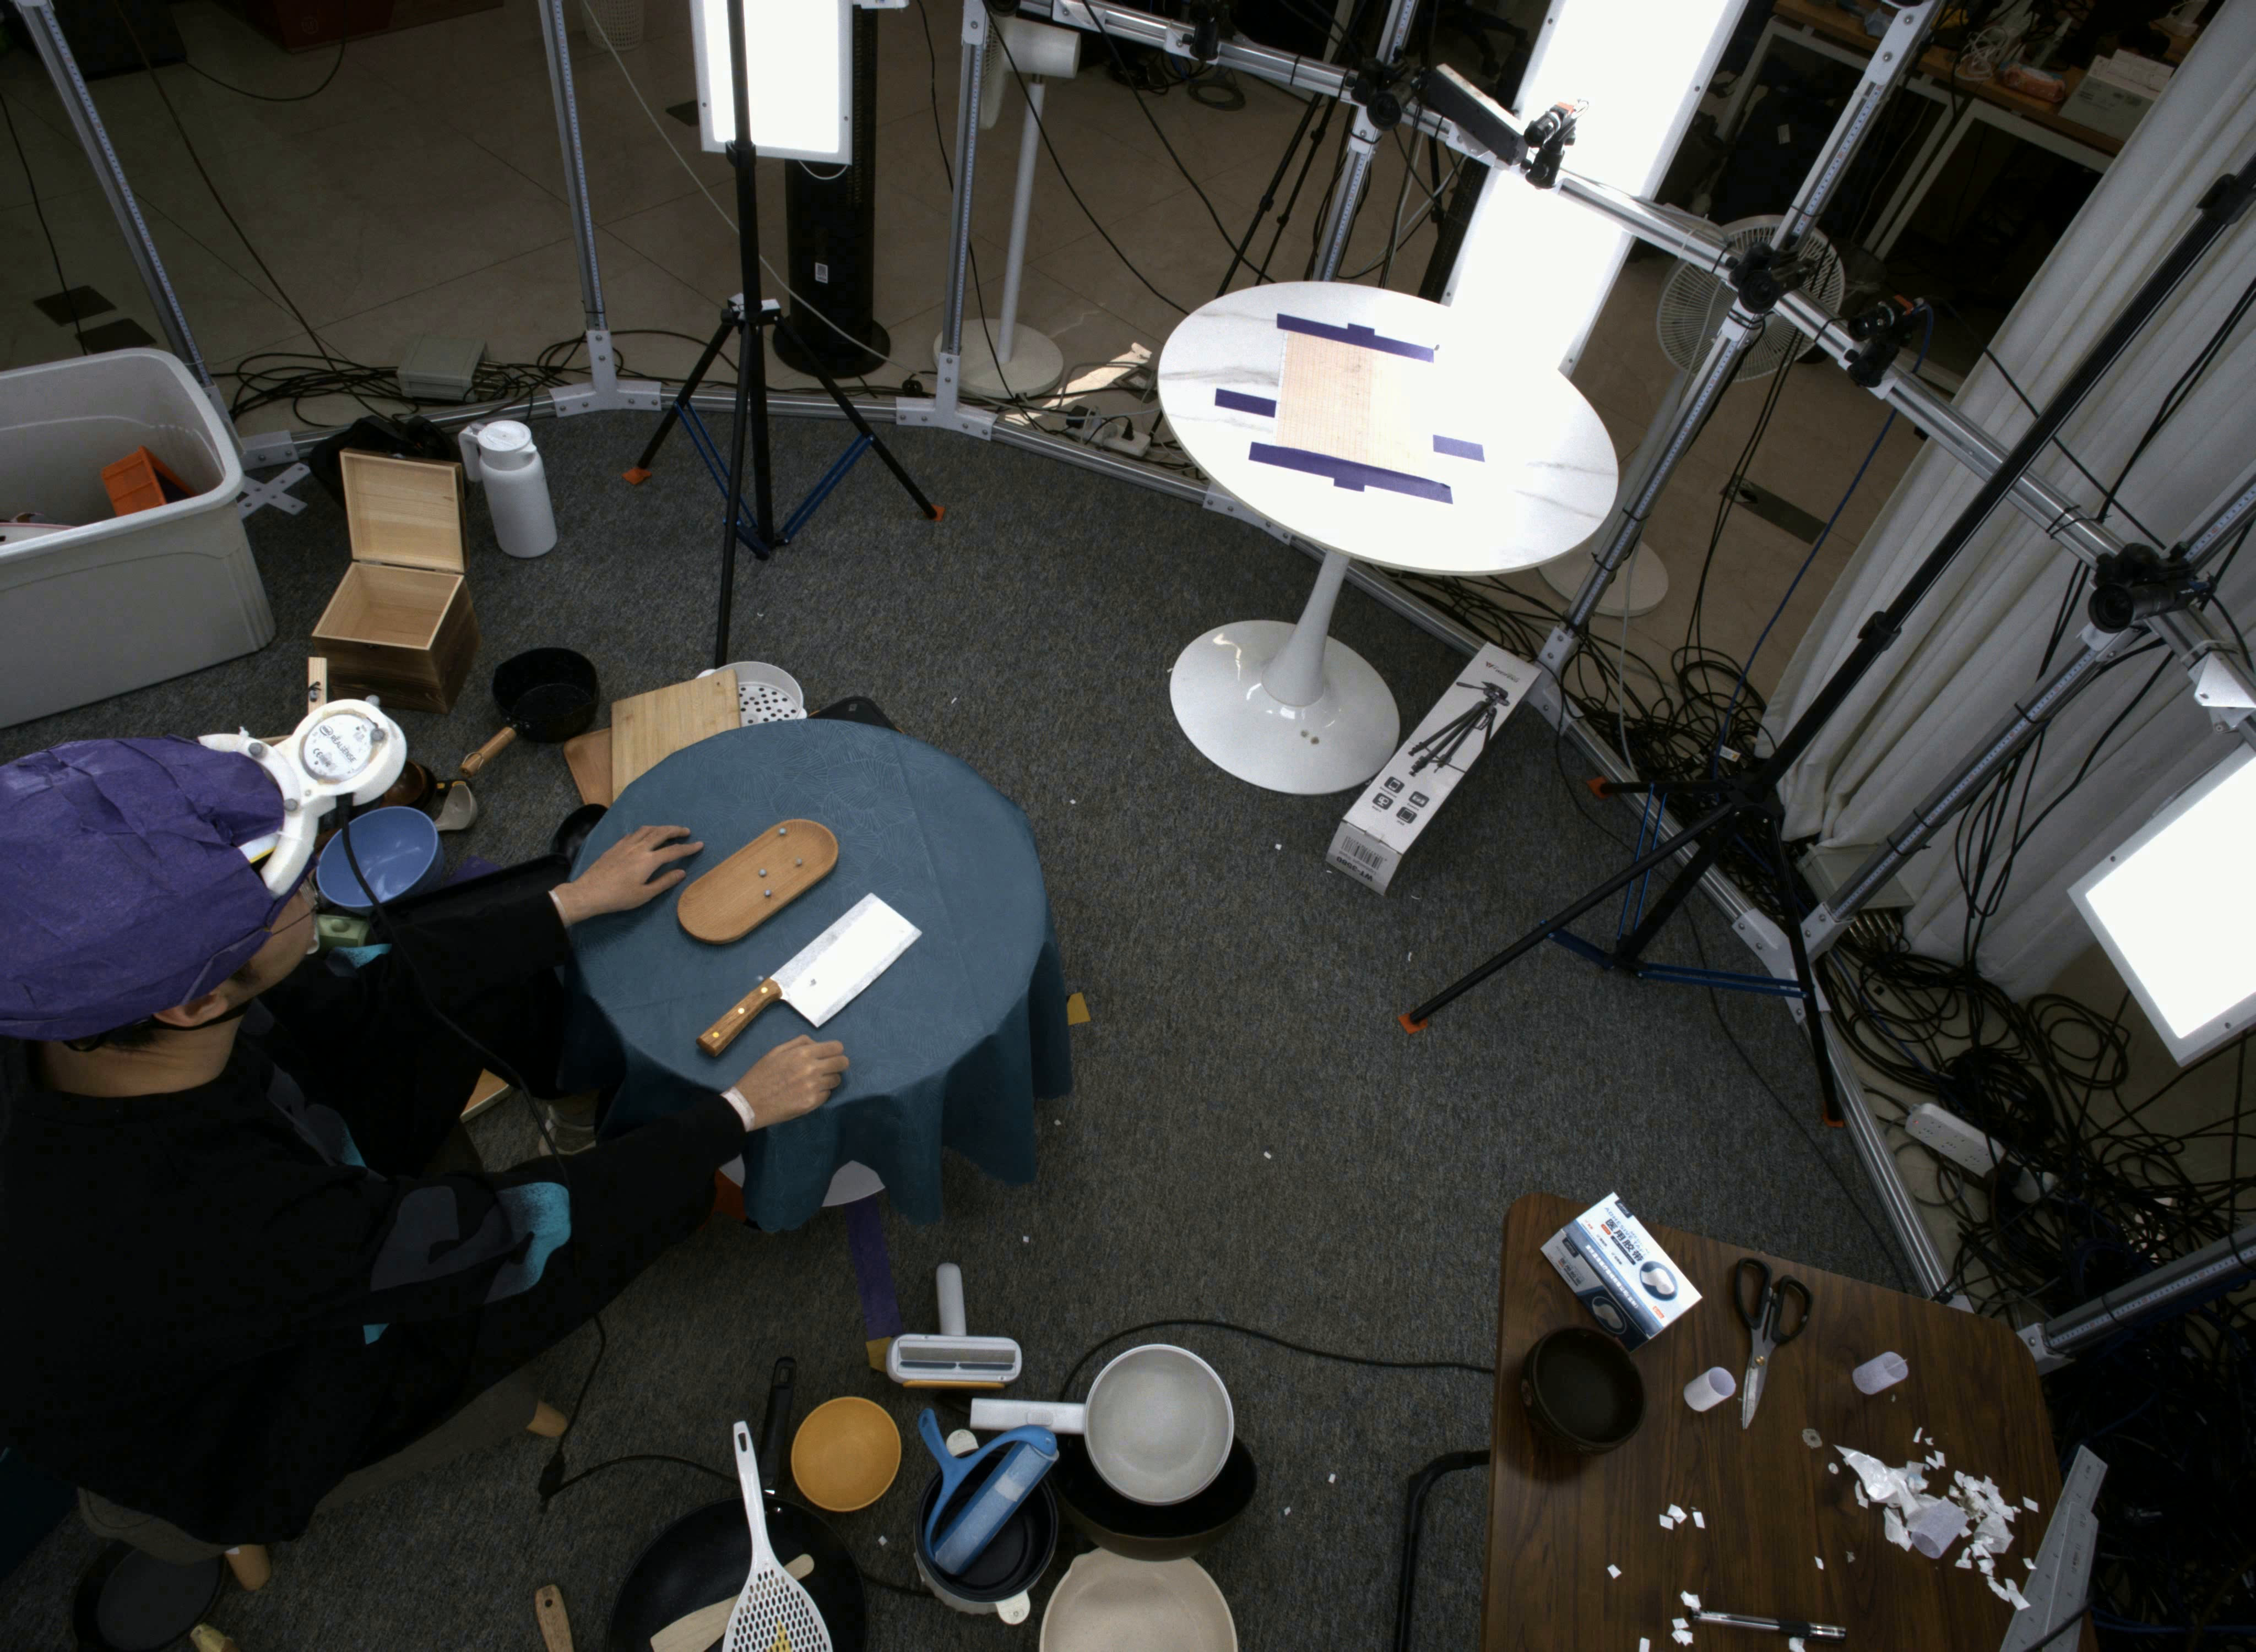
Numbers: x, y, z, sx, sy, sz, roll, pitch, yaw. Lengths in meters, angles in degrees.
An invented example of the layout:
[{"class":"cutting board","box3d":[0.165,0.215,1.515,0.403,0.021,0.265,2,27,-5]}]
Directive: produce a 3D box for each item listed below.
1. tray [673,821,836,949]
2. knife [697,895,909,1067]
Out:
[{"class":"tray","box3d":[-0.470,0.071,1.637,0.099,0.021,0.231,38,55,16]},{"class":"knife","box3d":[-0.383,0.193,1.570,0.091,0.021,0.305,37,51,10]}]
